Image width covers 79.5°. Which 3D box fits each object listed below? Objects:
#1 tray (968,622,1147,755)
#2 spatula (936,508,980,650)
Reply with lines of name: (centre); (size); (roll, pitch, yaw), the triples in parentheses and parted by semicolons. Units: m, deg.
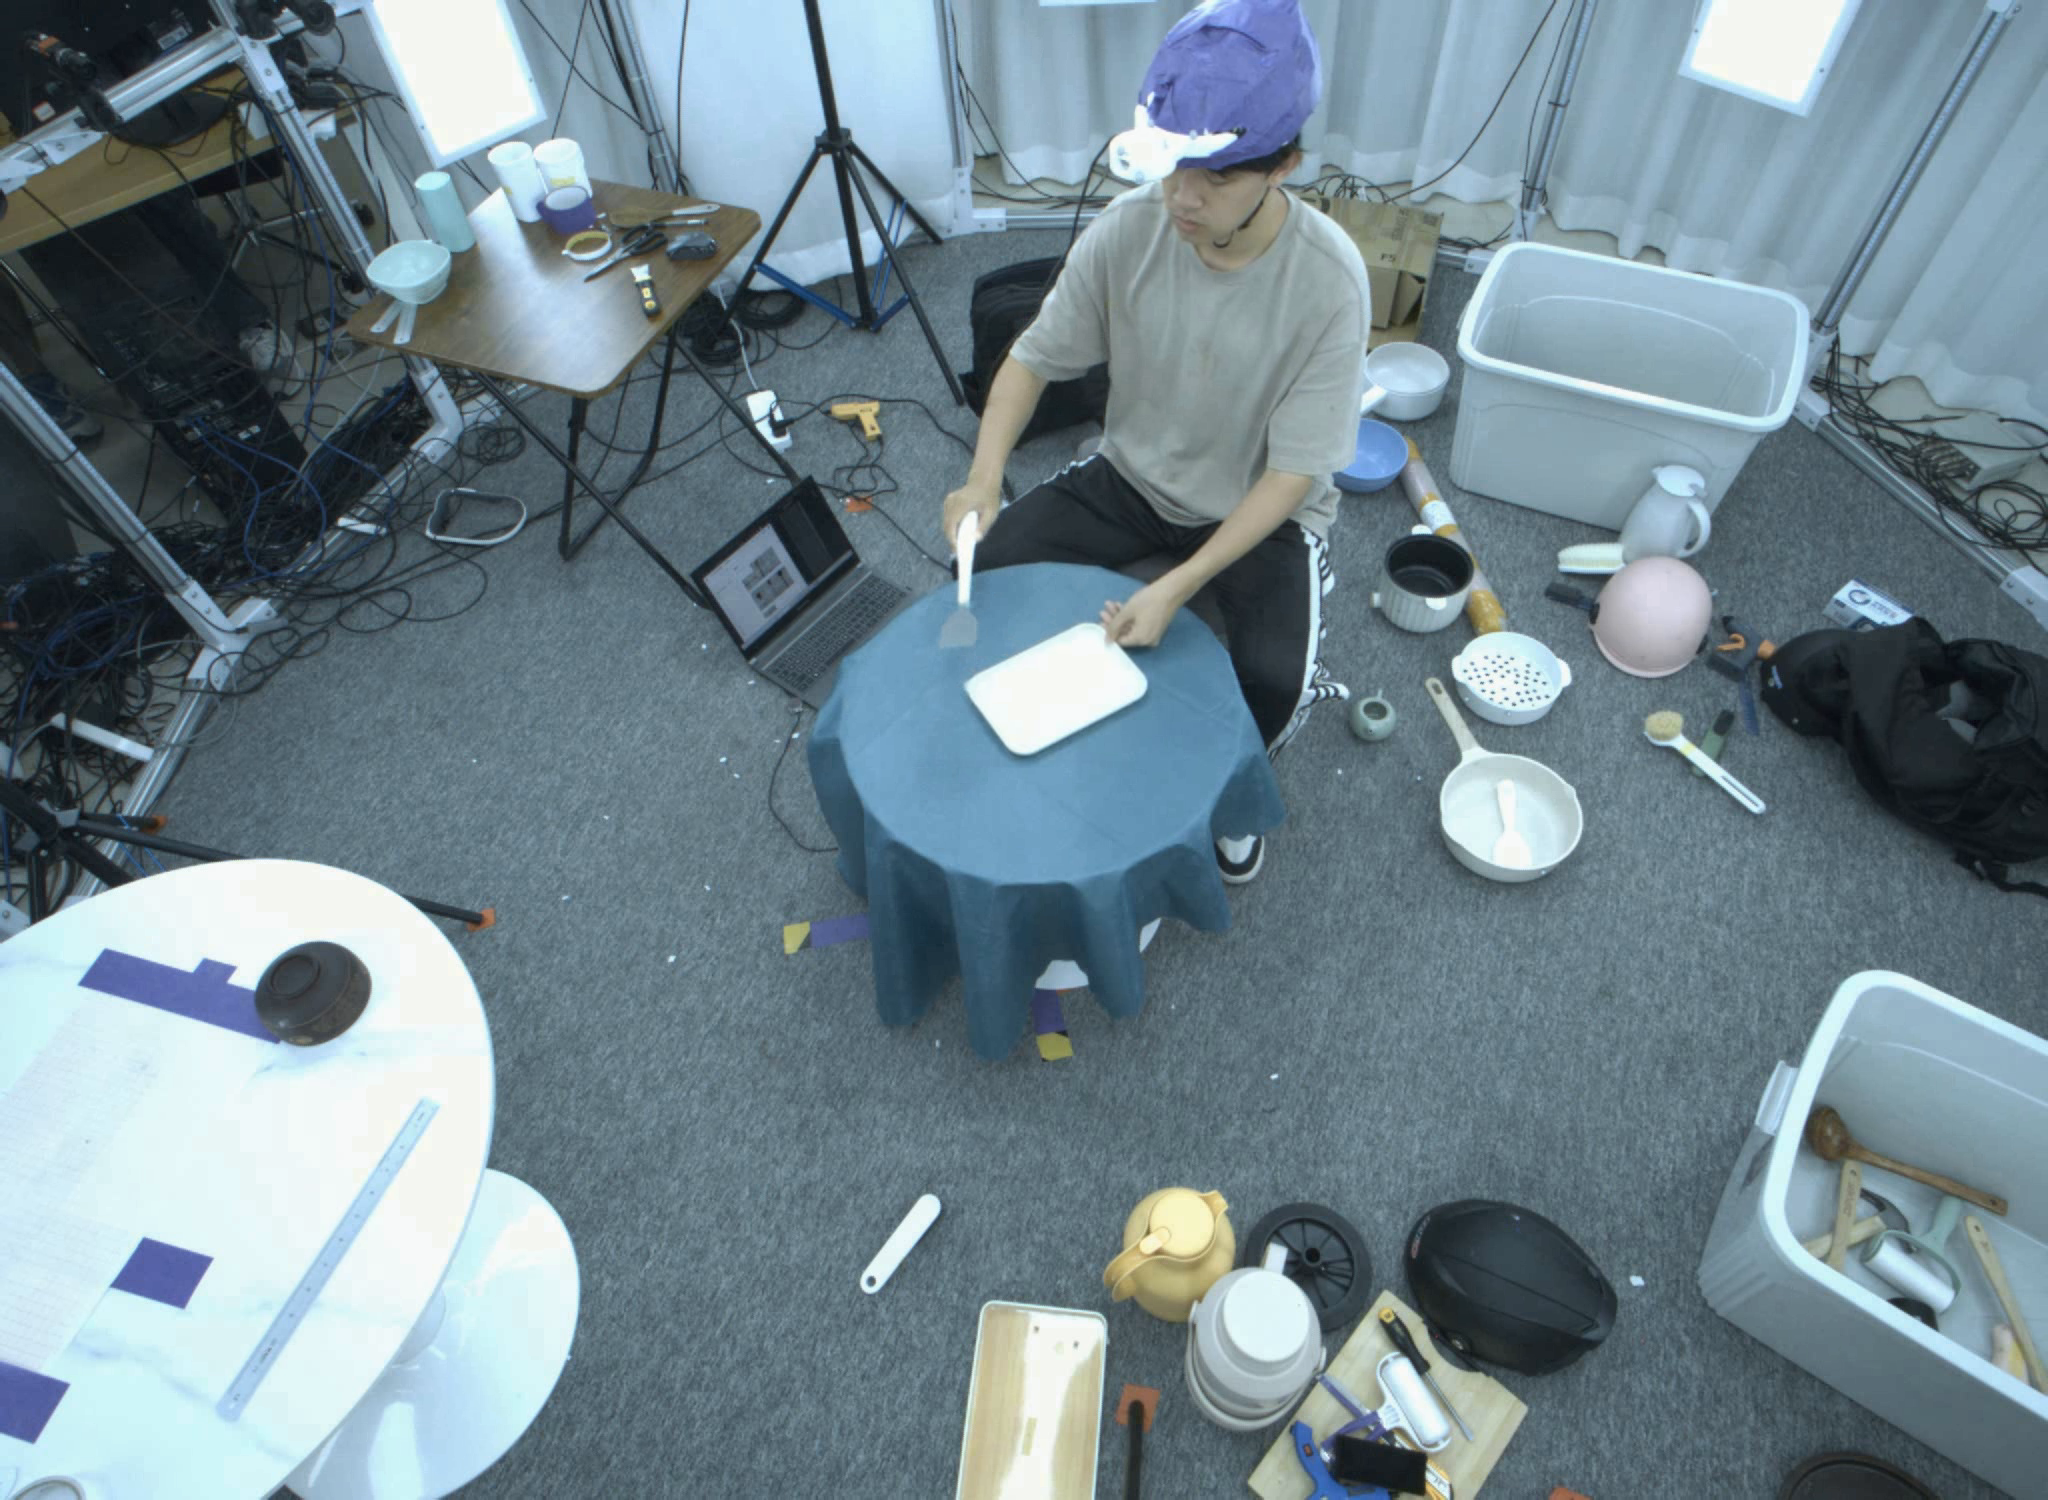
tray: (0.050, -0.092, 1.837); (0.241, 0.017, 0.168); (-27, 59, -16)
spatula: (-0.088, -0.244, 1.767); (0.058, 0.032, 0.284); (1, 52, 1)
